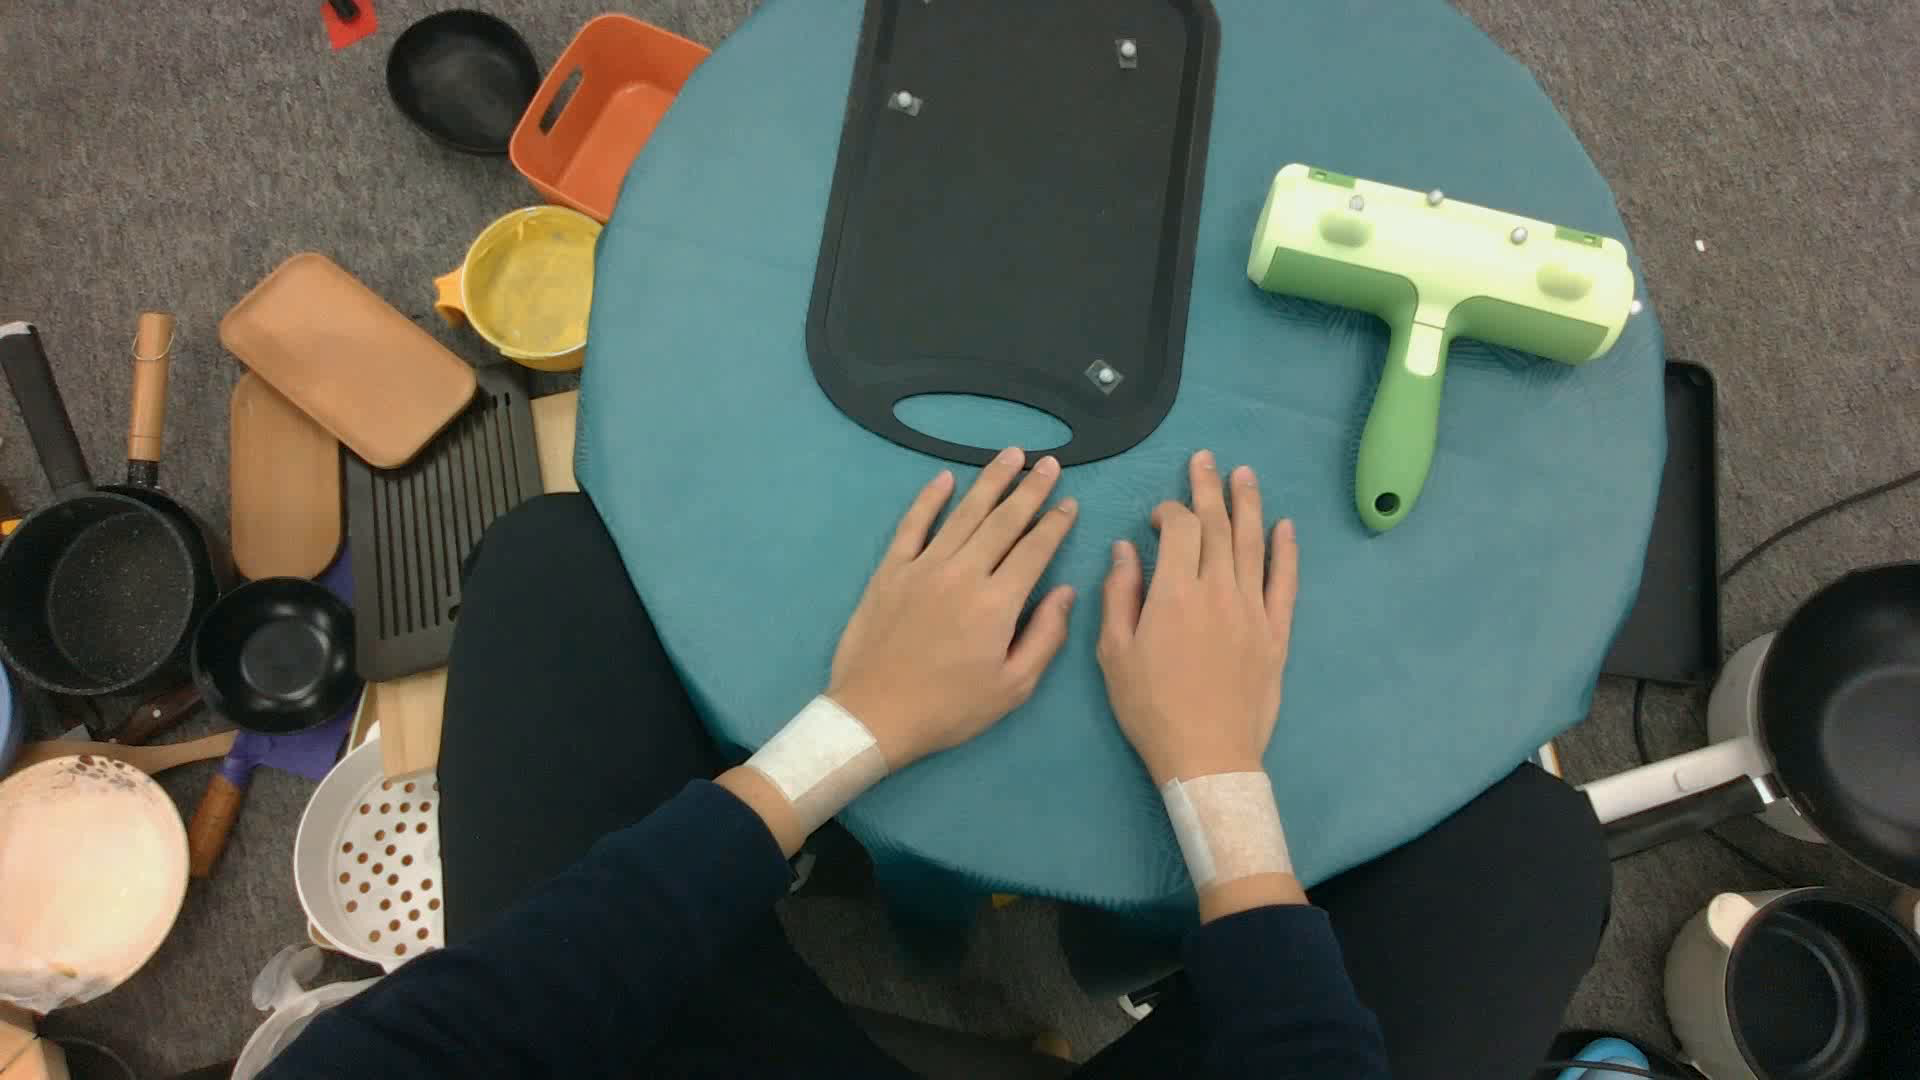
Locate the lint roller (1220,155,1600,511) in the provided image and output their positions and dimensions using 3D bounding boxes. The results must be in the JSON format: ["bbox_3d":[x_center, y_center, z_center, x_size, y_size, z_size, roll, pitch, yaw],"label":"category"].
[{"bbox_3d":[0.233,-0.110,0.727,0.198,0.082,0.184,12,69,2],"label":"lint roller"}]

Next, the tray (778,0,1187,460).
[{"bbox_3d":[0.016,-0.201,0.782,0.211,0.010,0.326,8,75,0],"label":"tray"}]
